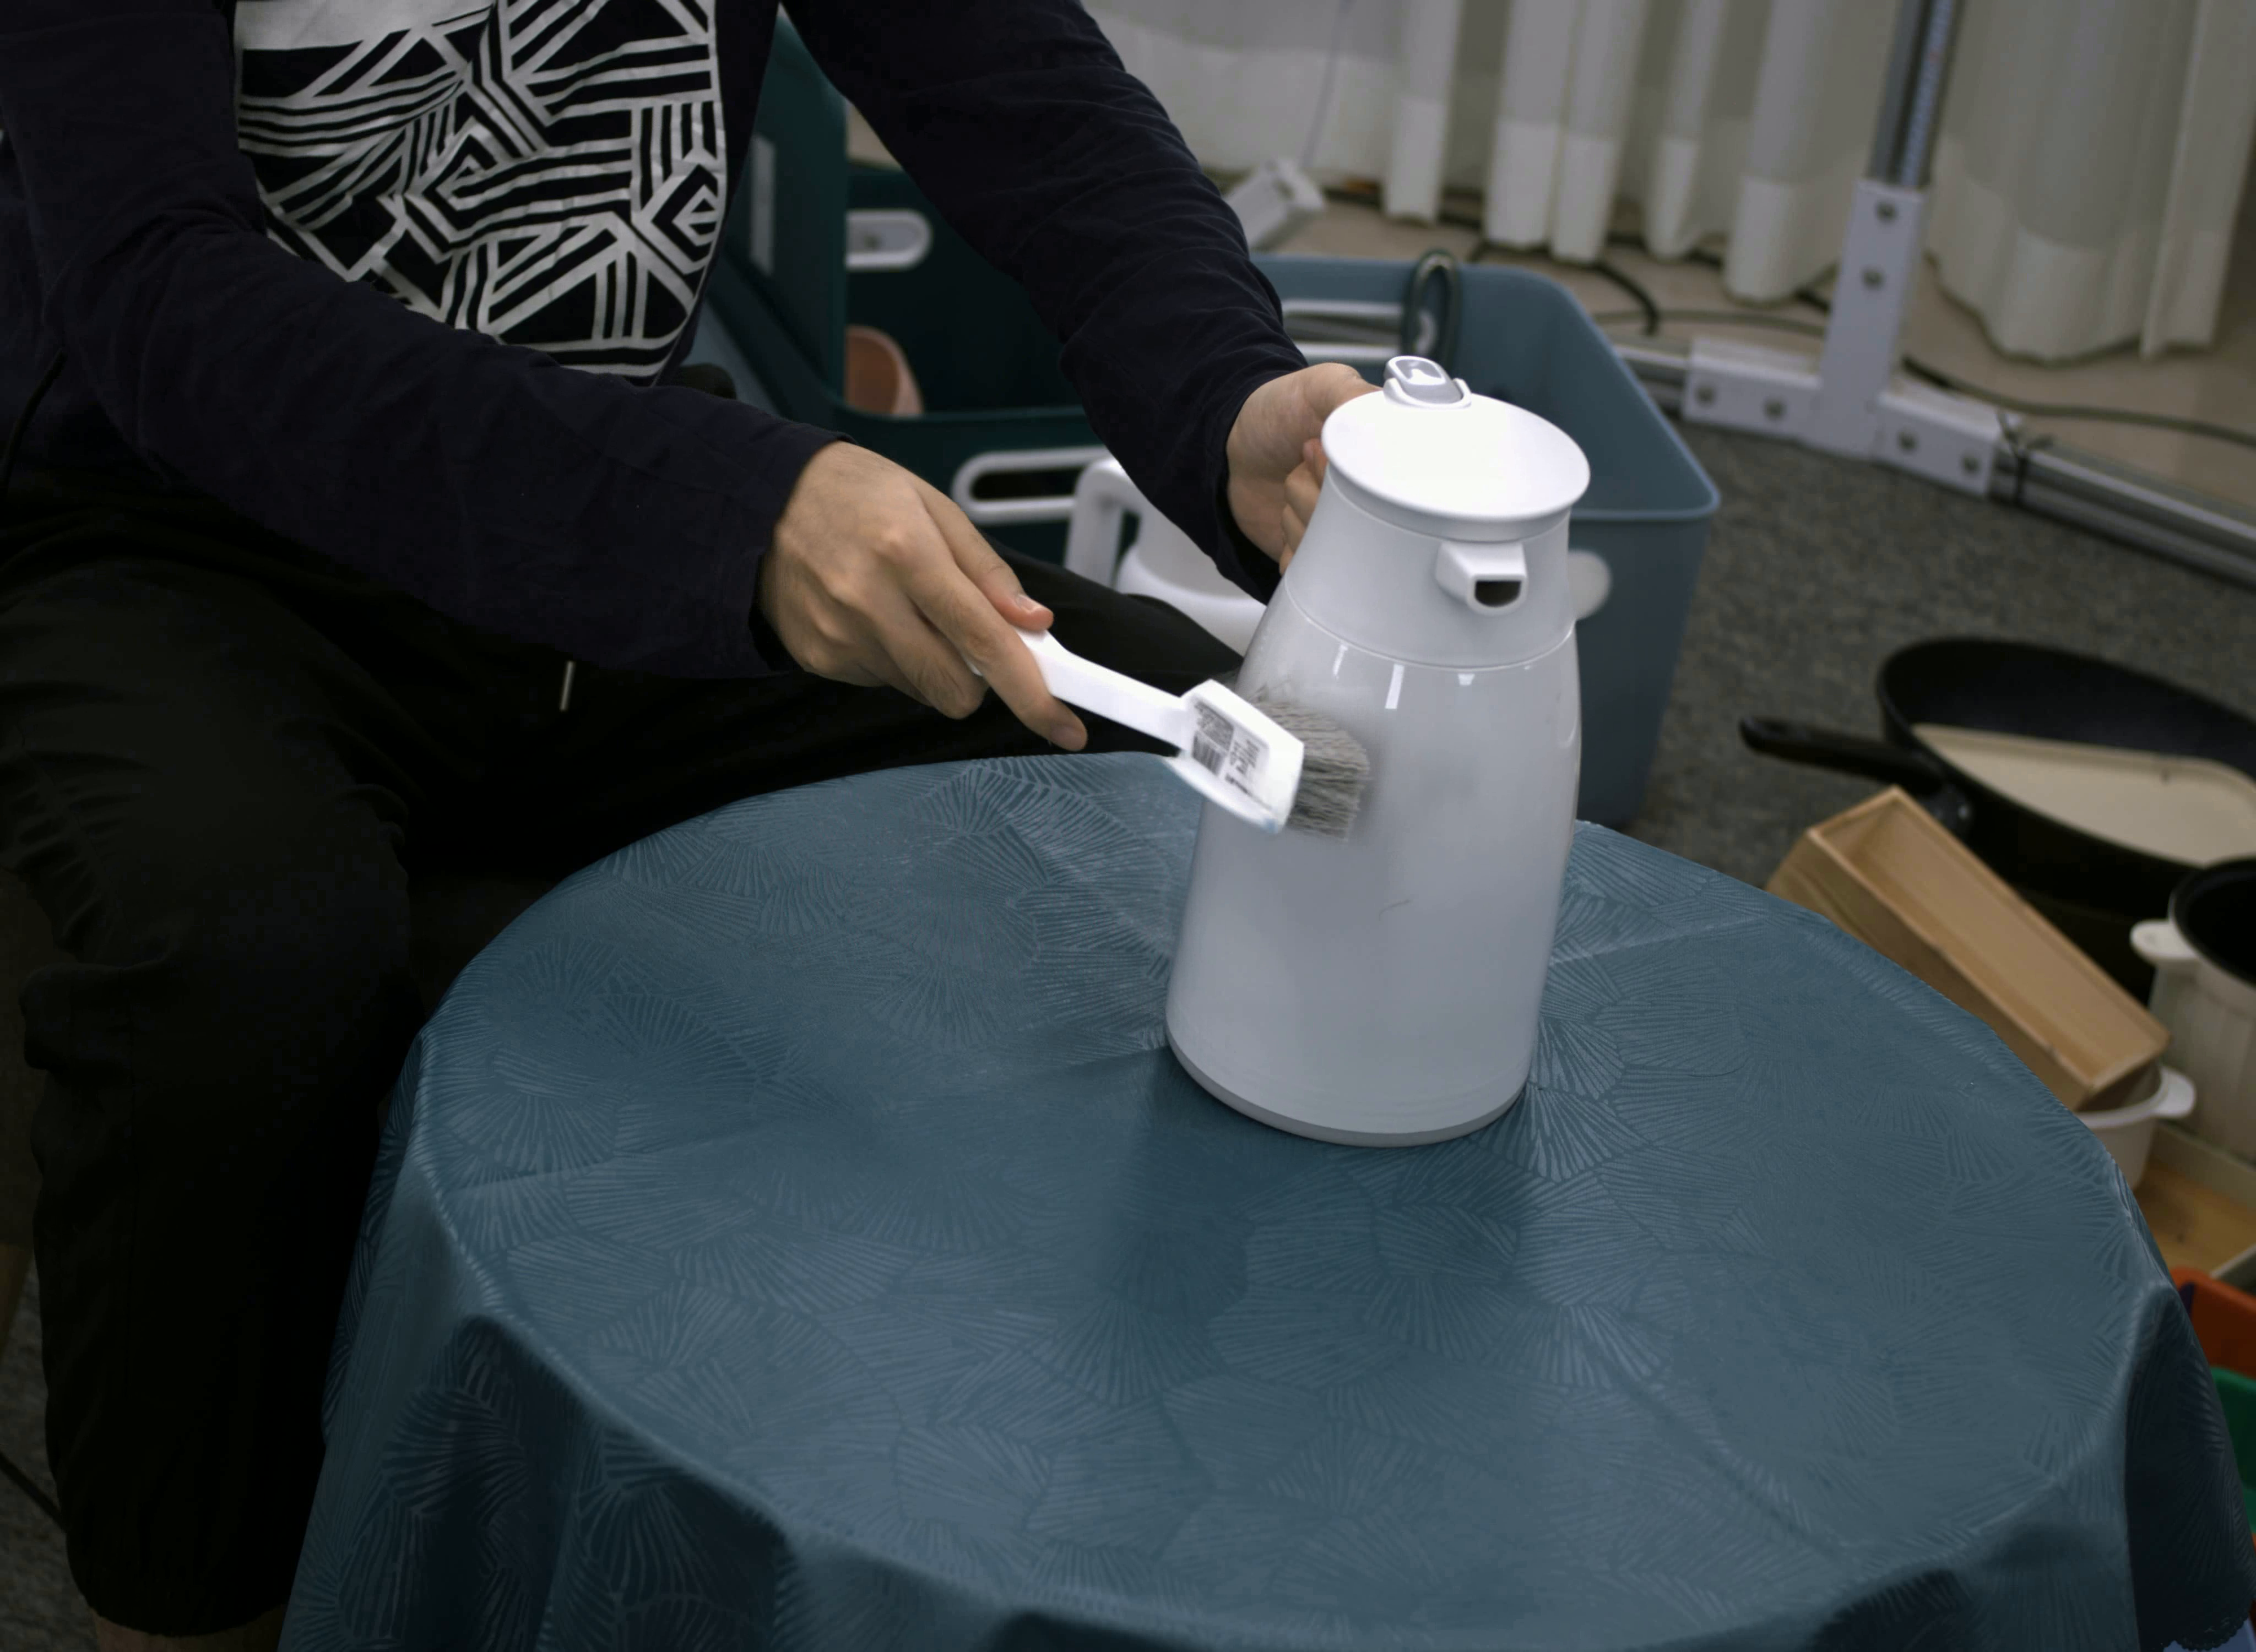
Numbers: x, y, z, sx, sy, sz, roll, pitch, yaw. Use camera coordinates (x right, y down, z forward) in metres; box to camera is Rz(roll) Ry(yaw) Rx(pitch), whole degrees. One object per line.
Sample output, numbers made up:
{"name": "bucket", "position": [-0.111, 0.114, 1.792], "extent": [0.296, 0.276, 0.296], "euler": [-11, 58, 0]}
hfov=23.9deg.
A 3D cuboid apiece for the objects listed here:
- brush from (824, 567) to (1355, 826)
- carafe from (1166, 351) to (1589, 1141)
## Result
{"name": "brush", "position": [-0.013, -0.048, 1.827], "extent": [0.050, 0.034, 0.245], "euler": [-2, 18, -43]}
{"name": "carafe", "position": [0.089, -0.039, 1.858], "extent": [0.132, 0.248, 0.169], "euler": [-1, 32, -15]}
